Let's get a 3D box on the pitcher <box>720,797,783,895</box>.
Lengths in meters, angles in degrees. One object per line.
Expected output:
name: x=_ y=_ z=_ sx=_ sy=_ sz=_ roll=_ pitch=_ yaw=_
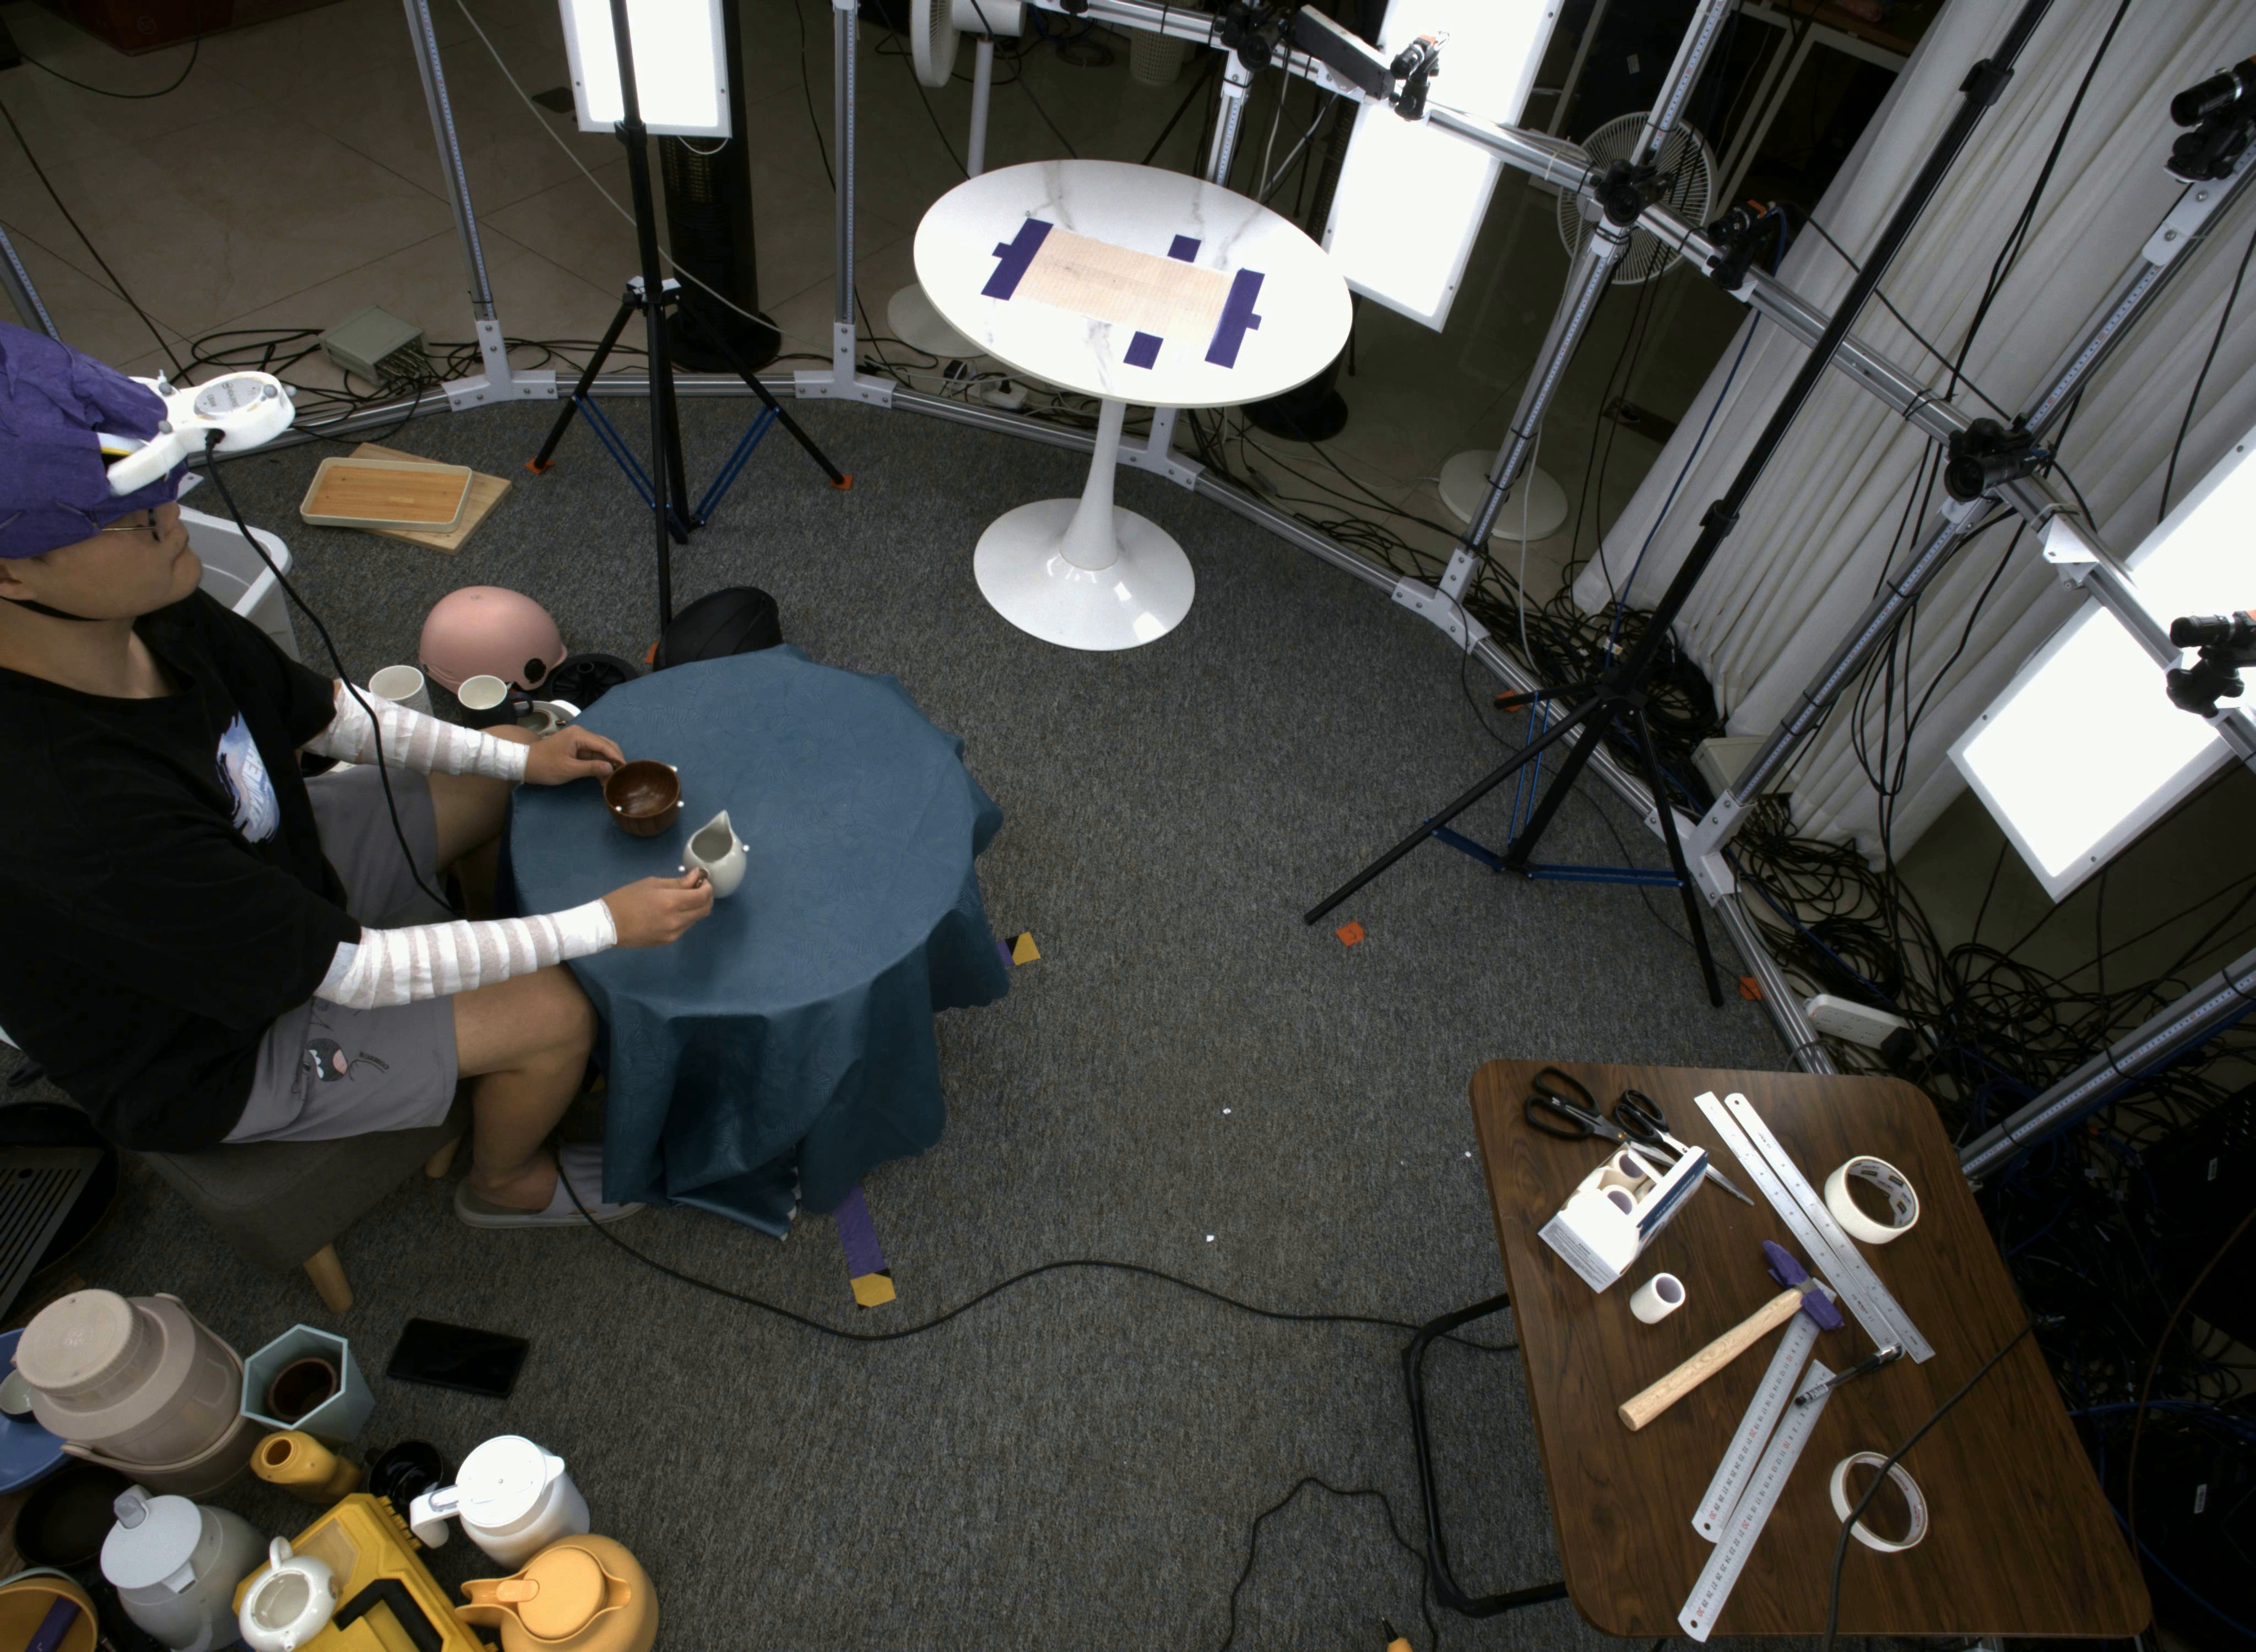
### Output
pitcher: x=-0.470 y=0.035 z=1.603 sx=0.074 sy=0.090 sz=0.118 roll=13 pitch=45 yaw=7

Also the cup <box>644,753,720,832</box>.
cup: x=-0.588 y=-0.046 z=1.687 sx=0.116 sy=0.069 sz=0.096 roll=41 pitch=59 yaw=20
